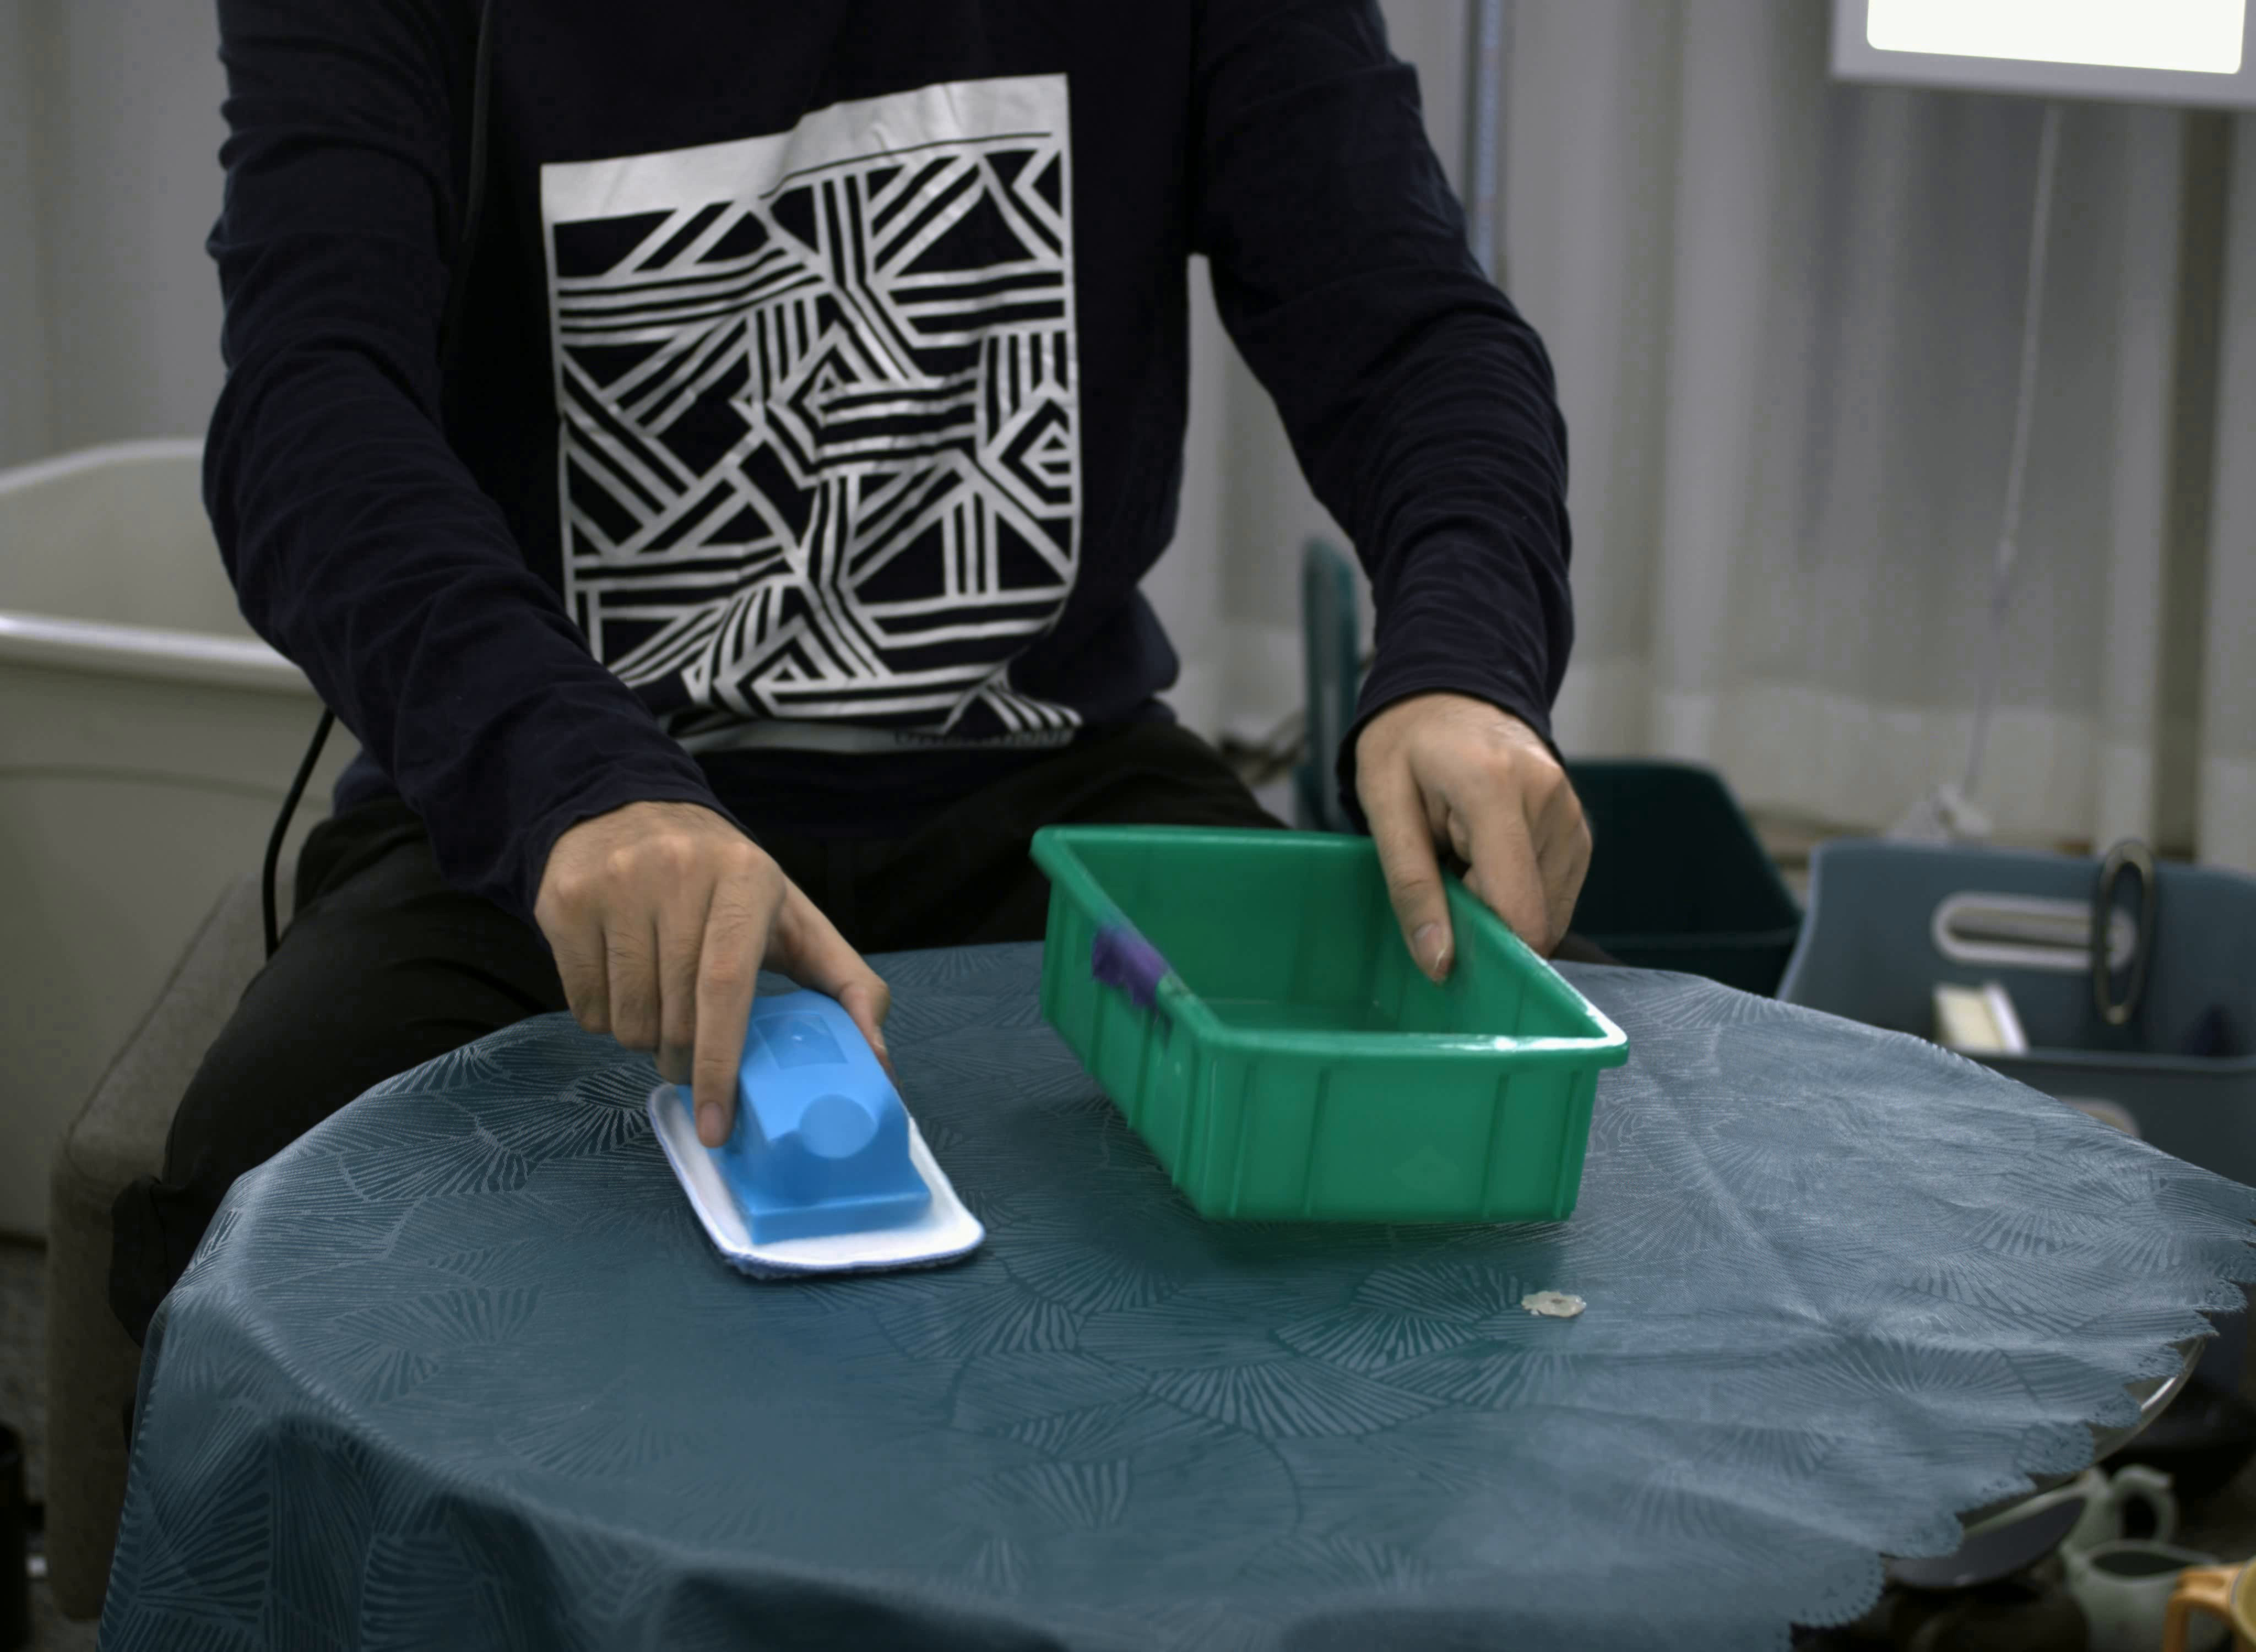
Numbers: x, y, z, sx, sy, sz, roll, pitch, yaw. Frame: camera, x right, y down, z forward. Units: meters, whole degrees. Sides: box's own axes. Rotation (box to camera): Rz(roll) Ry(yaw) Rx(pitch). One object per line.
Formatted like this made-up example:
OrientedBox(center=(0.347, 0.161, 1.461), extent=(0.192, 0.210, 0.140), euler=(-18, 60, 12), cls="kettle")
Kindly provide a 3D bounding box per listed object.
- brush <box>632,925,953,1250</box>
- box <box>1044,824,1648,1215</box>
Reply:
OrientedBox(center=(-0.102, 0.074, 1.601), extent=(0.084, 0.056, 0.142), euler=(-5, 31, -13), cls="brush")
OrientedBox(center=(0.060, 0.060, 1.637), extent=(0.139, 0.066, 0.208), euler=(1, 18, -19), cls="box")
